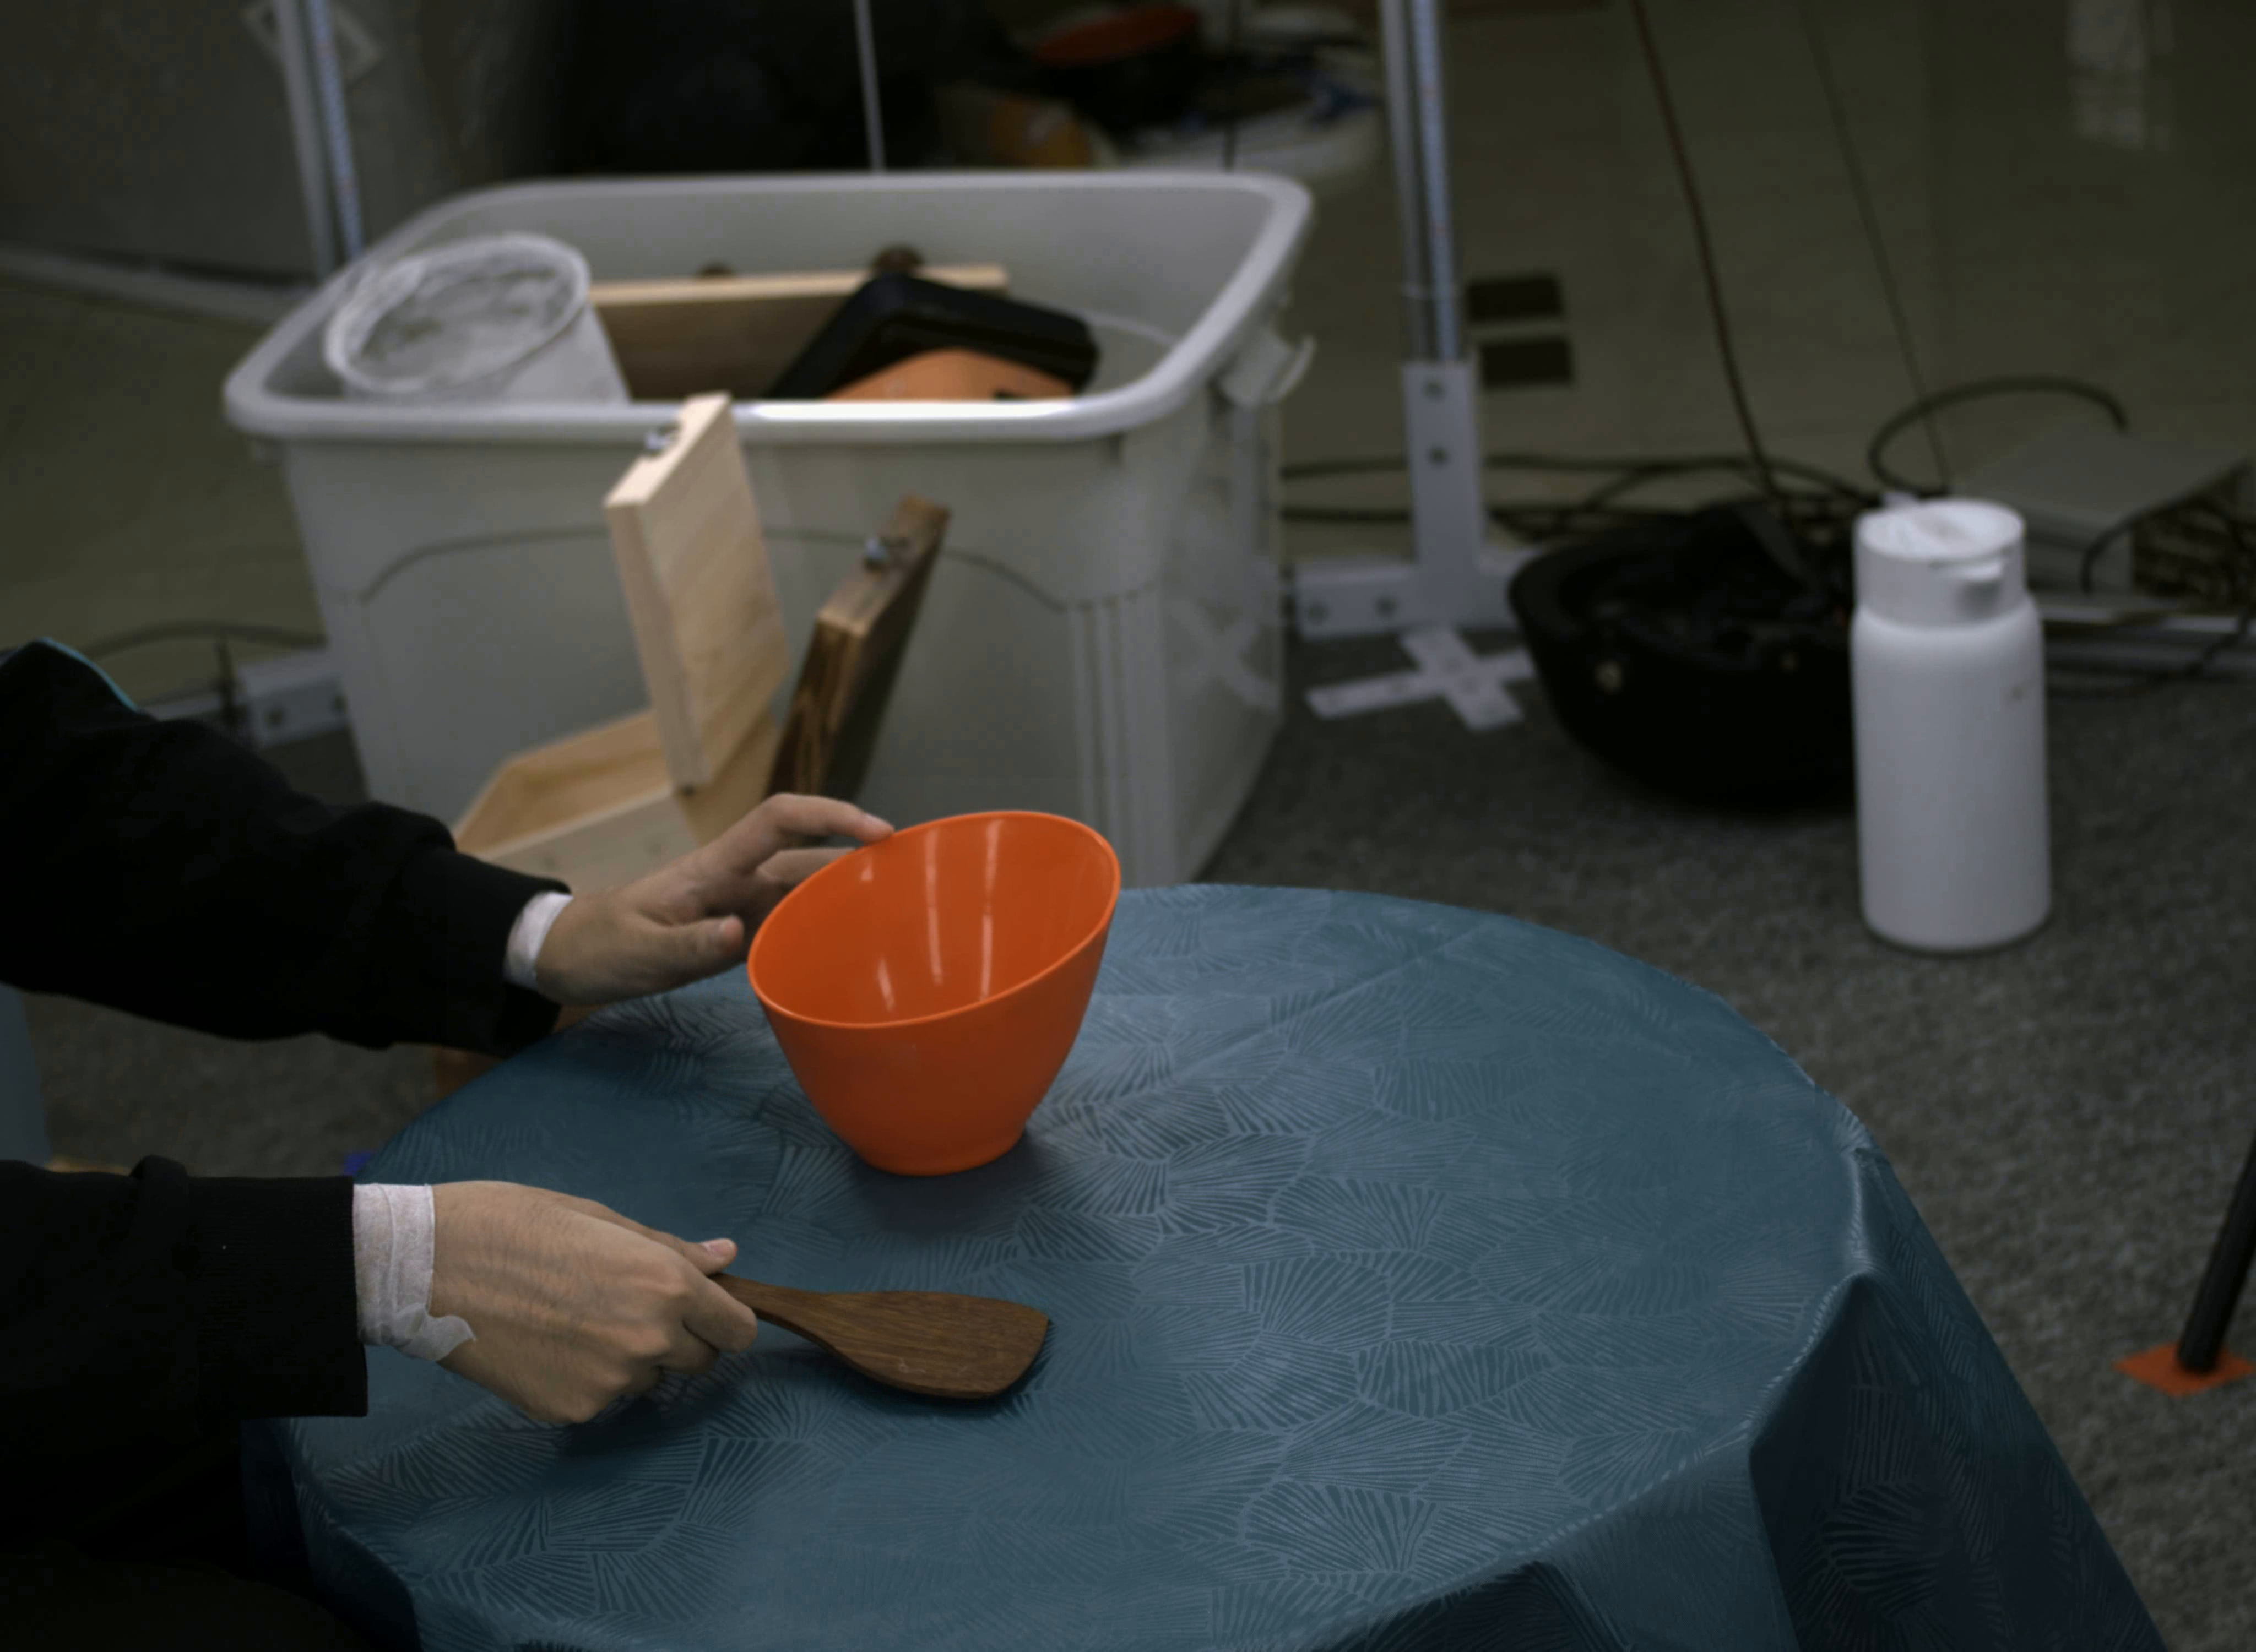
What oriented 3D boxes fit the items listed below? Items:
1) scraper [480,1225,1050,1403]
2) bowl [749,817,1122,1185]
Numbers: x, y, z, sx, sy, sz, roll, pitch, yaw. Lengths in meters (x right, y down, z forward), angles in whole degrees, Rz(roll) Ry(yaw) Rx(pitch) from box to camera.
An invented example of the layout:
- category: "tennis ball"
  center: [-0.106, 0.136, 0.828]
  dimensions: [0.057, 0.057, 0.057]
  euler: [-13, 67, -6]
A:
- category: "scraper"
  center: [-0.134, 0.173, 2.062]
  dimensions: [0.210, 0.011, 0.075]
  euler: [12, 25, 10]
- category: "bowl"
  center: [-0.069, 0.074, 2.190]
  dimensions: [0.148, 0.106, 0.146]
  euler: [-6, 27, 3]
